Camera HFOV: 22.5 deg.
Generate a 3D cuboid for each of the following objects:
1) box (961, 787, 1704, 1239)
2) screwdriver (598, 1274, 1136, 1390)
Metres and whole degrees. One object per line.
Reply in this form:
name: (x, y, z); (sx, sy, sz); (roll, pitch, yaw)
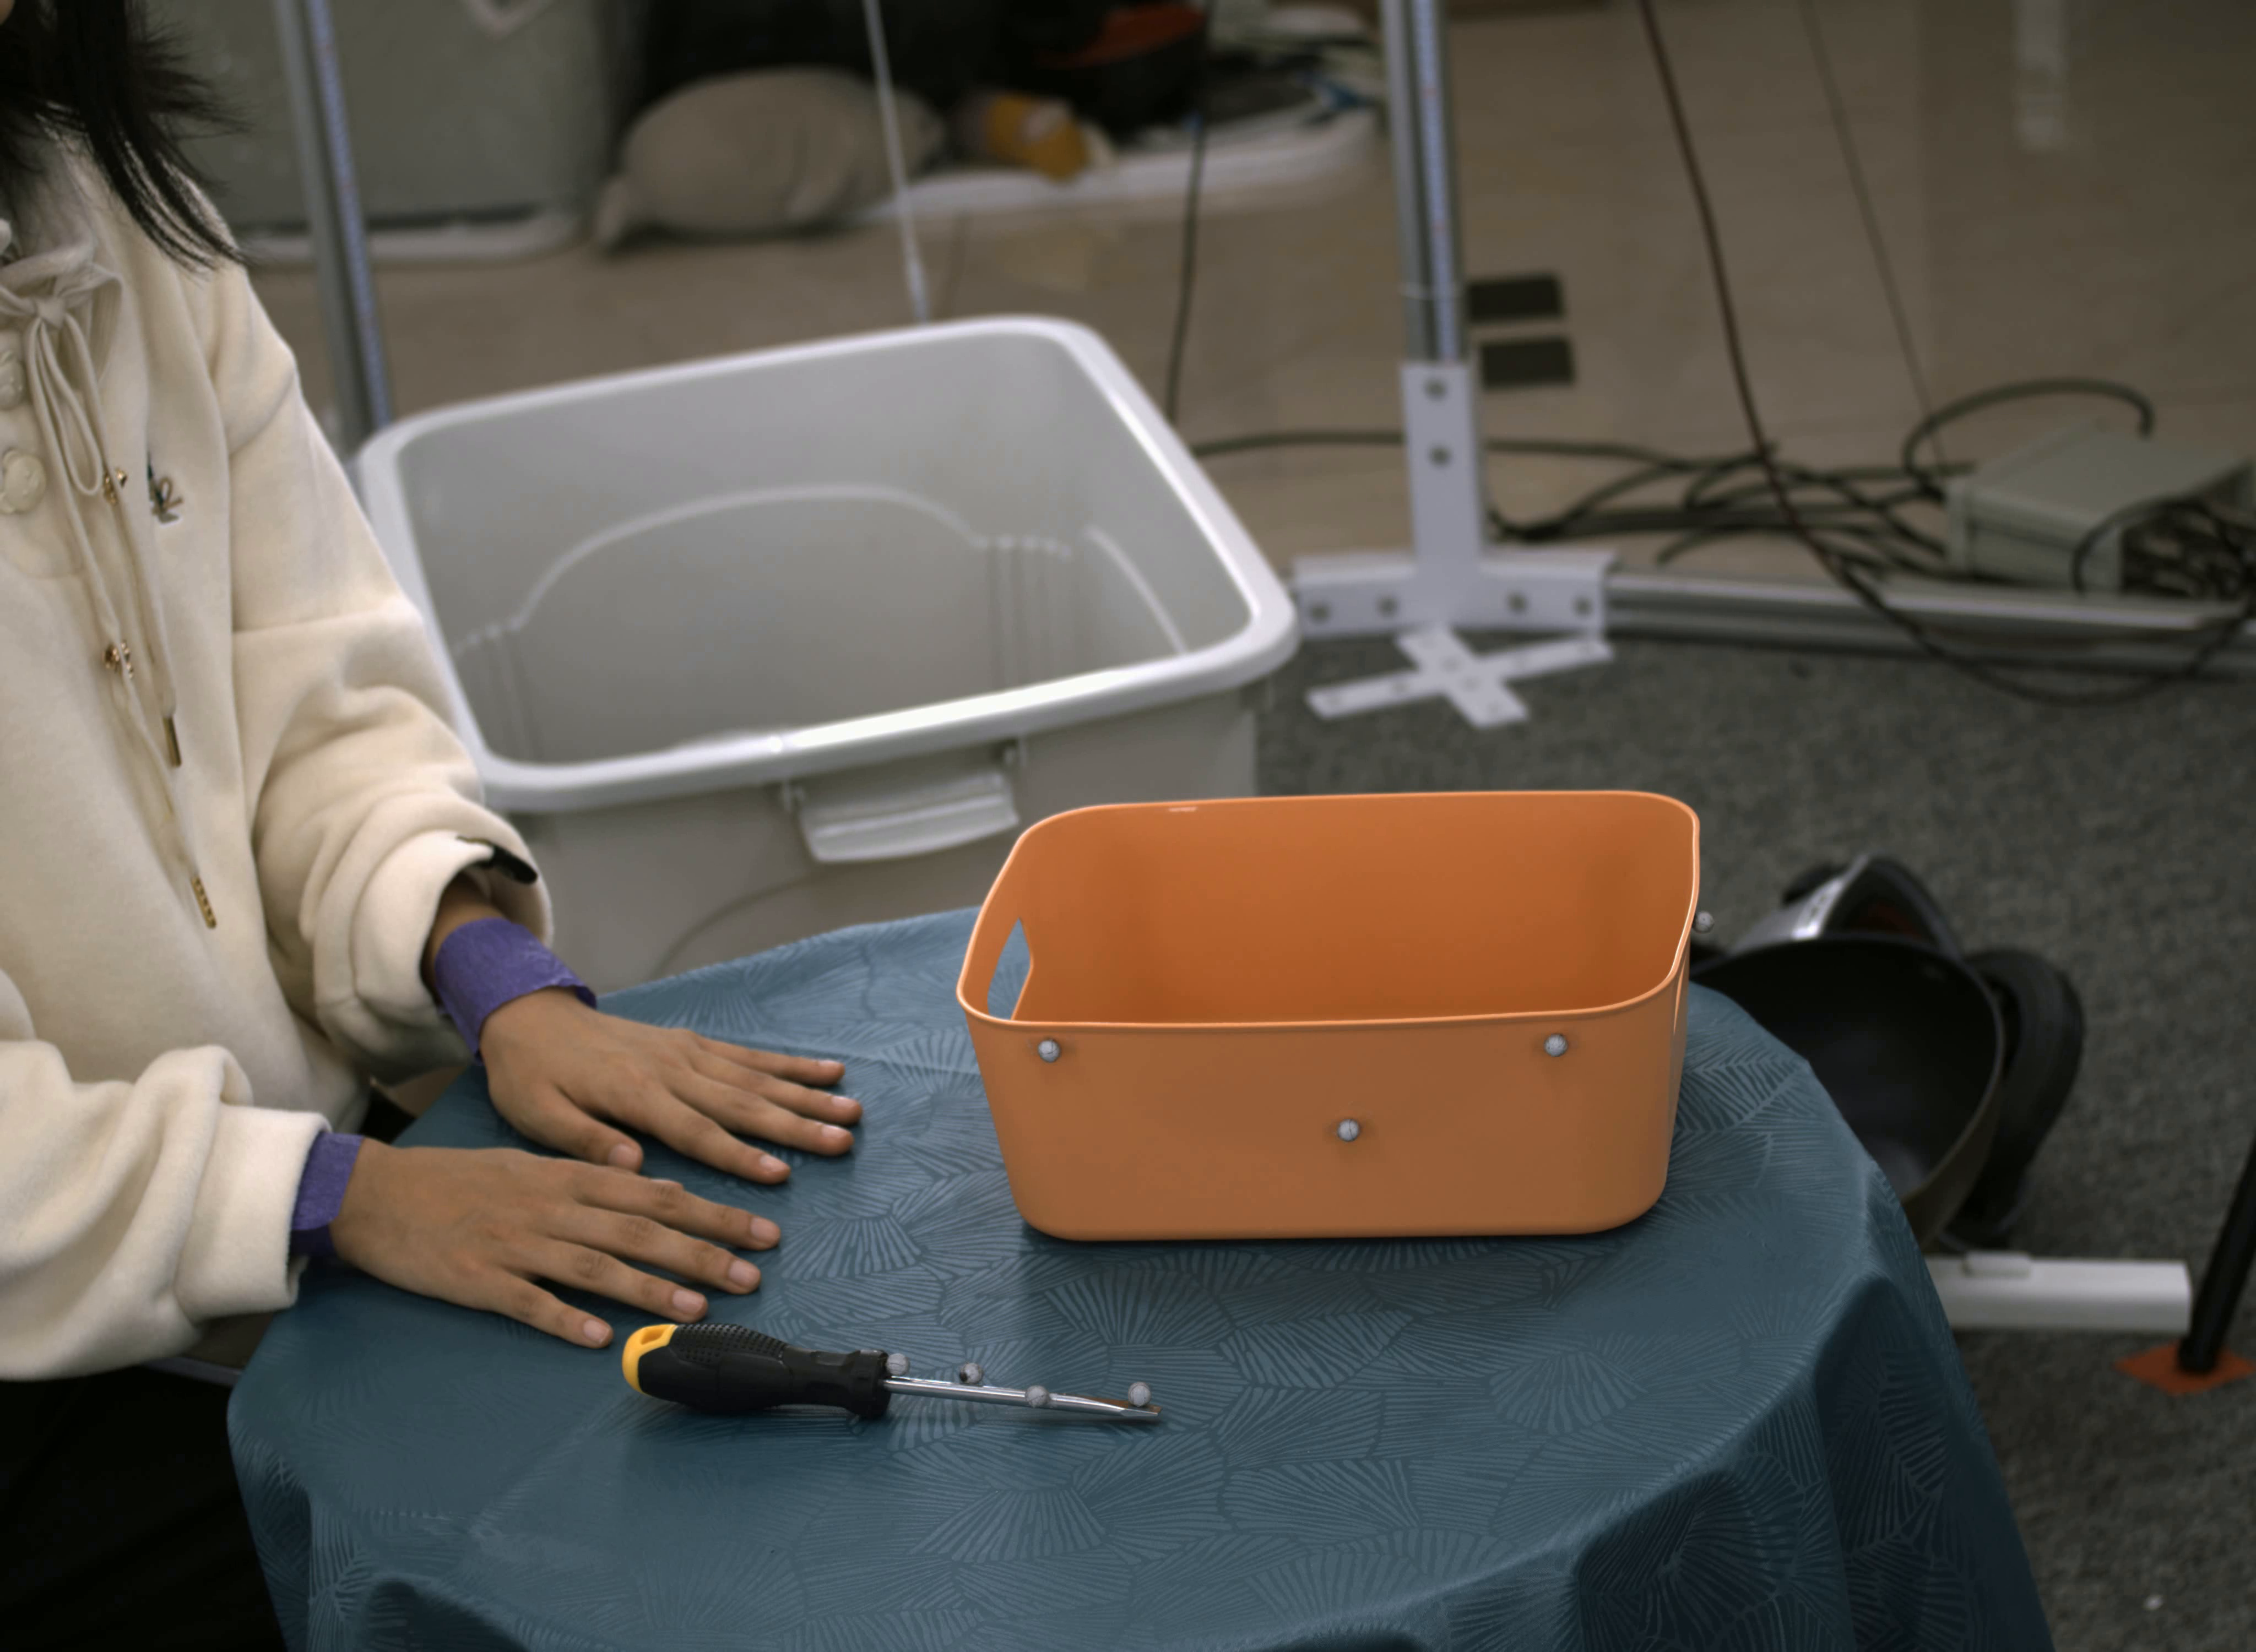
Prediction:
box: (0.083, 0.072, 2.146); (0.273, 0.104, 0.196); (-1, 26, 10)
screwdriver: (-0.093, 0.184, 2.020); (0.197, 0.032, 0.031); (8, 27, 9)
